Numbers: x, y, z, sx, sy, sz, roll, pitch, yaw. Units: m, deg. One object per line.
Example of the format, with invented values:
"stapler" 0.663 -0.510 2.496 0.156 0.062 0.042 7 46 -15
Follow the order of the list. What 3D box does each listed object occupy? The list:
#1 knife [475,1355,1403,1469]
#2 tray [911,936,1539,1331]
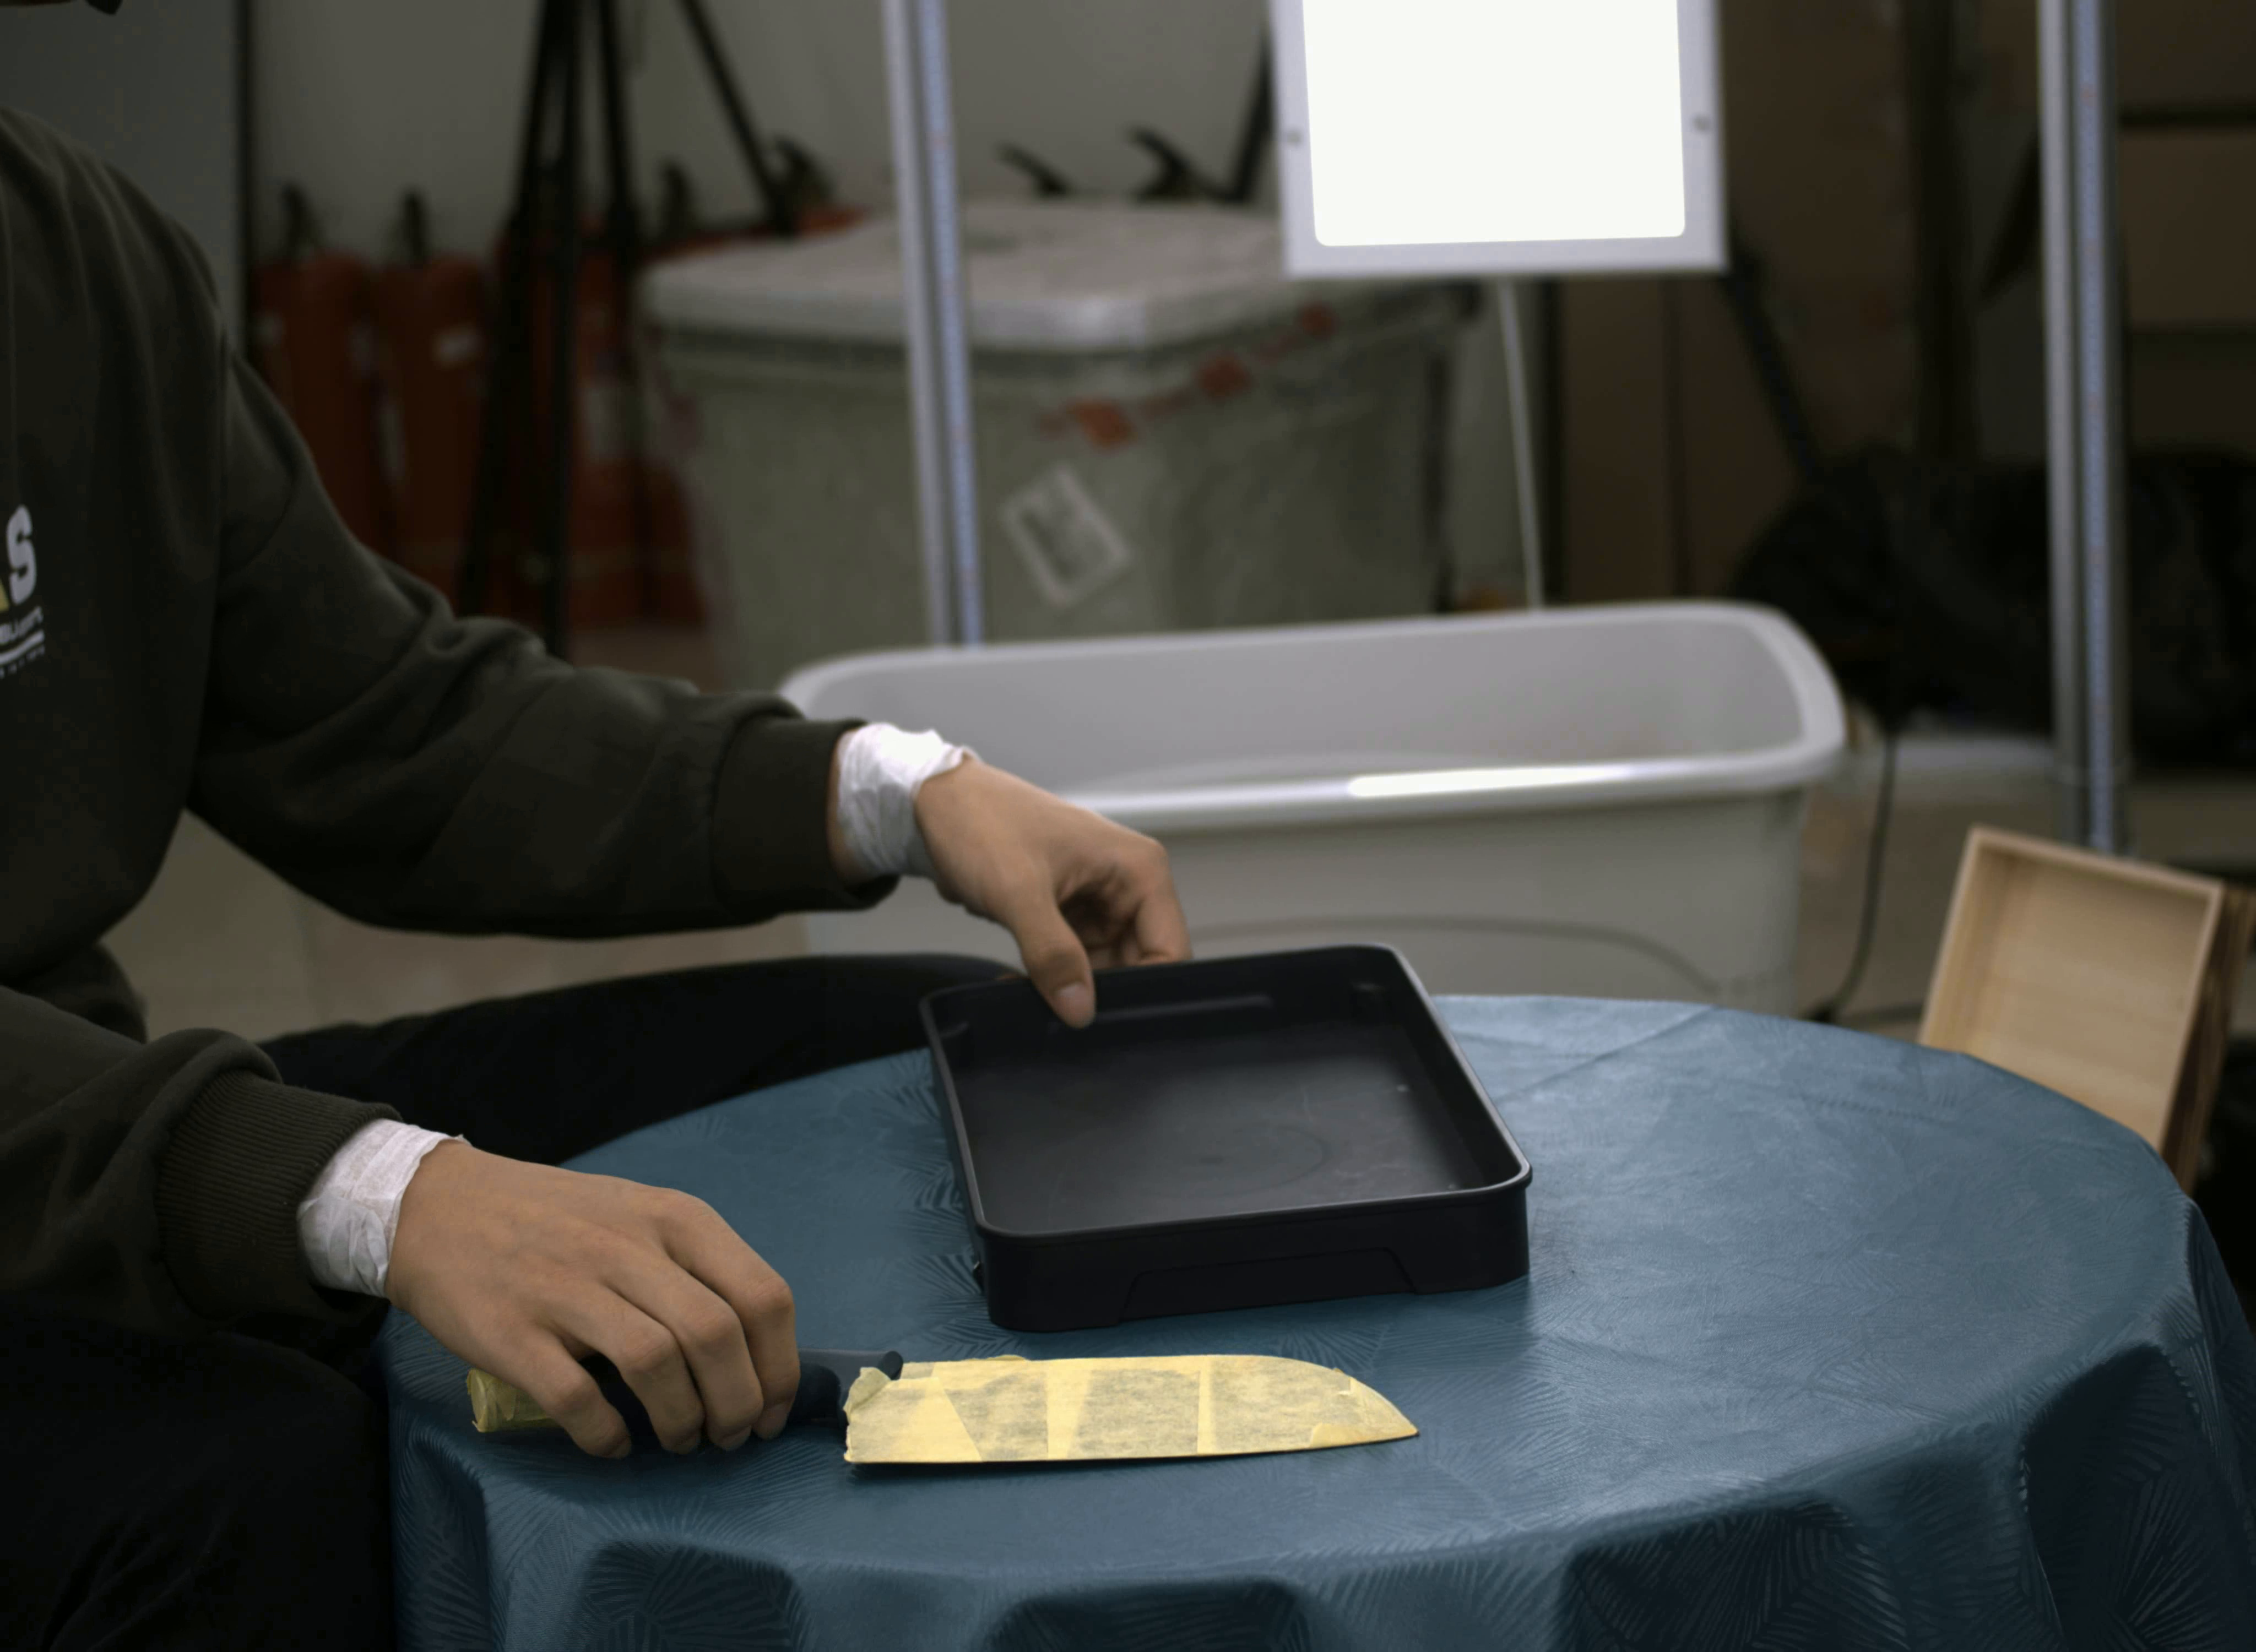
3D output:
"knife" -0.059 0.179 1.679 0.290 0.027 0.080 -3 15 8
"tray" 0.028 0.102 1.918 0.183 0.037 0.319 -7 14 -5
